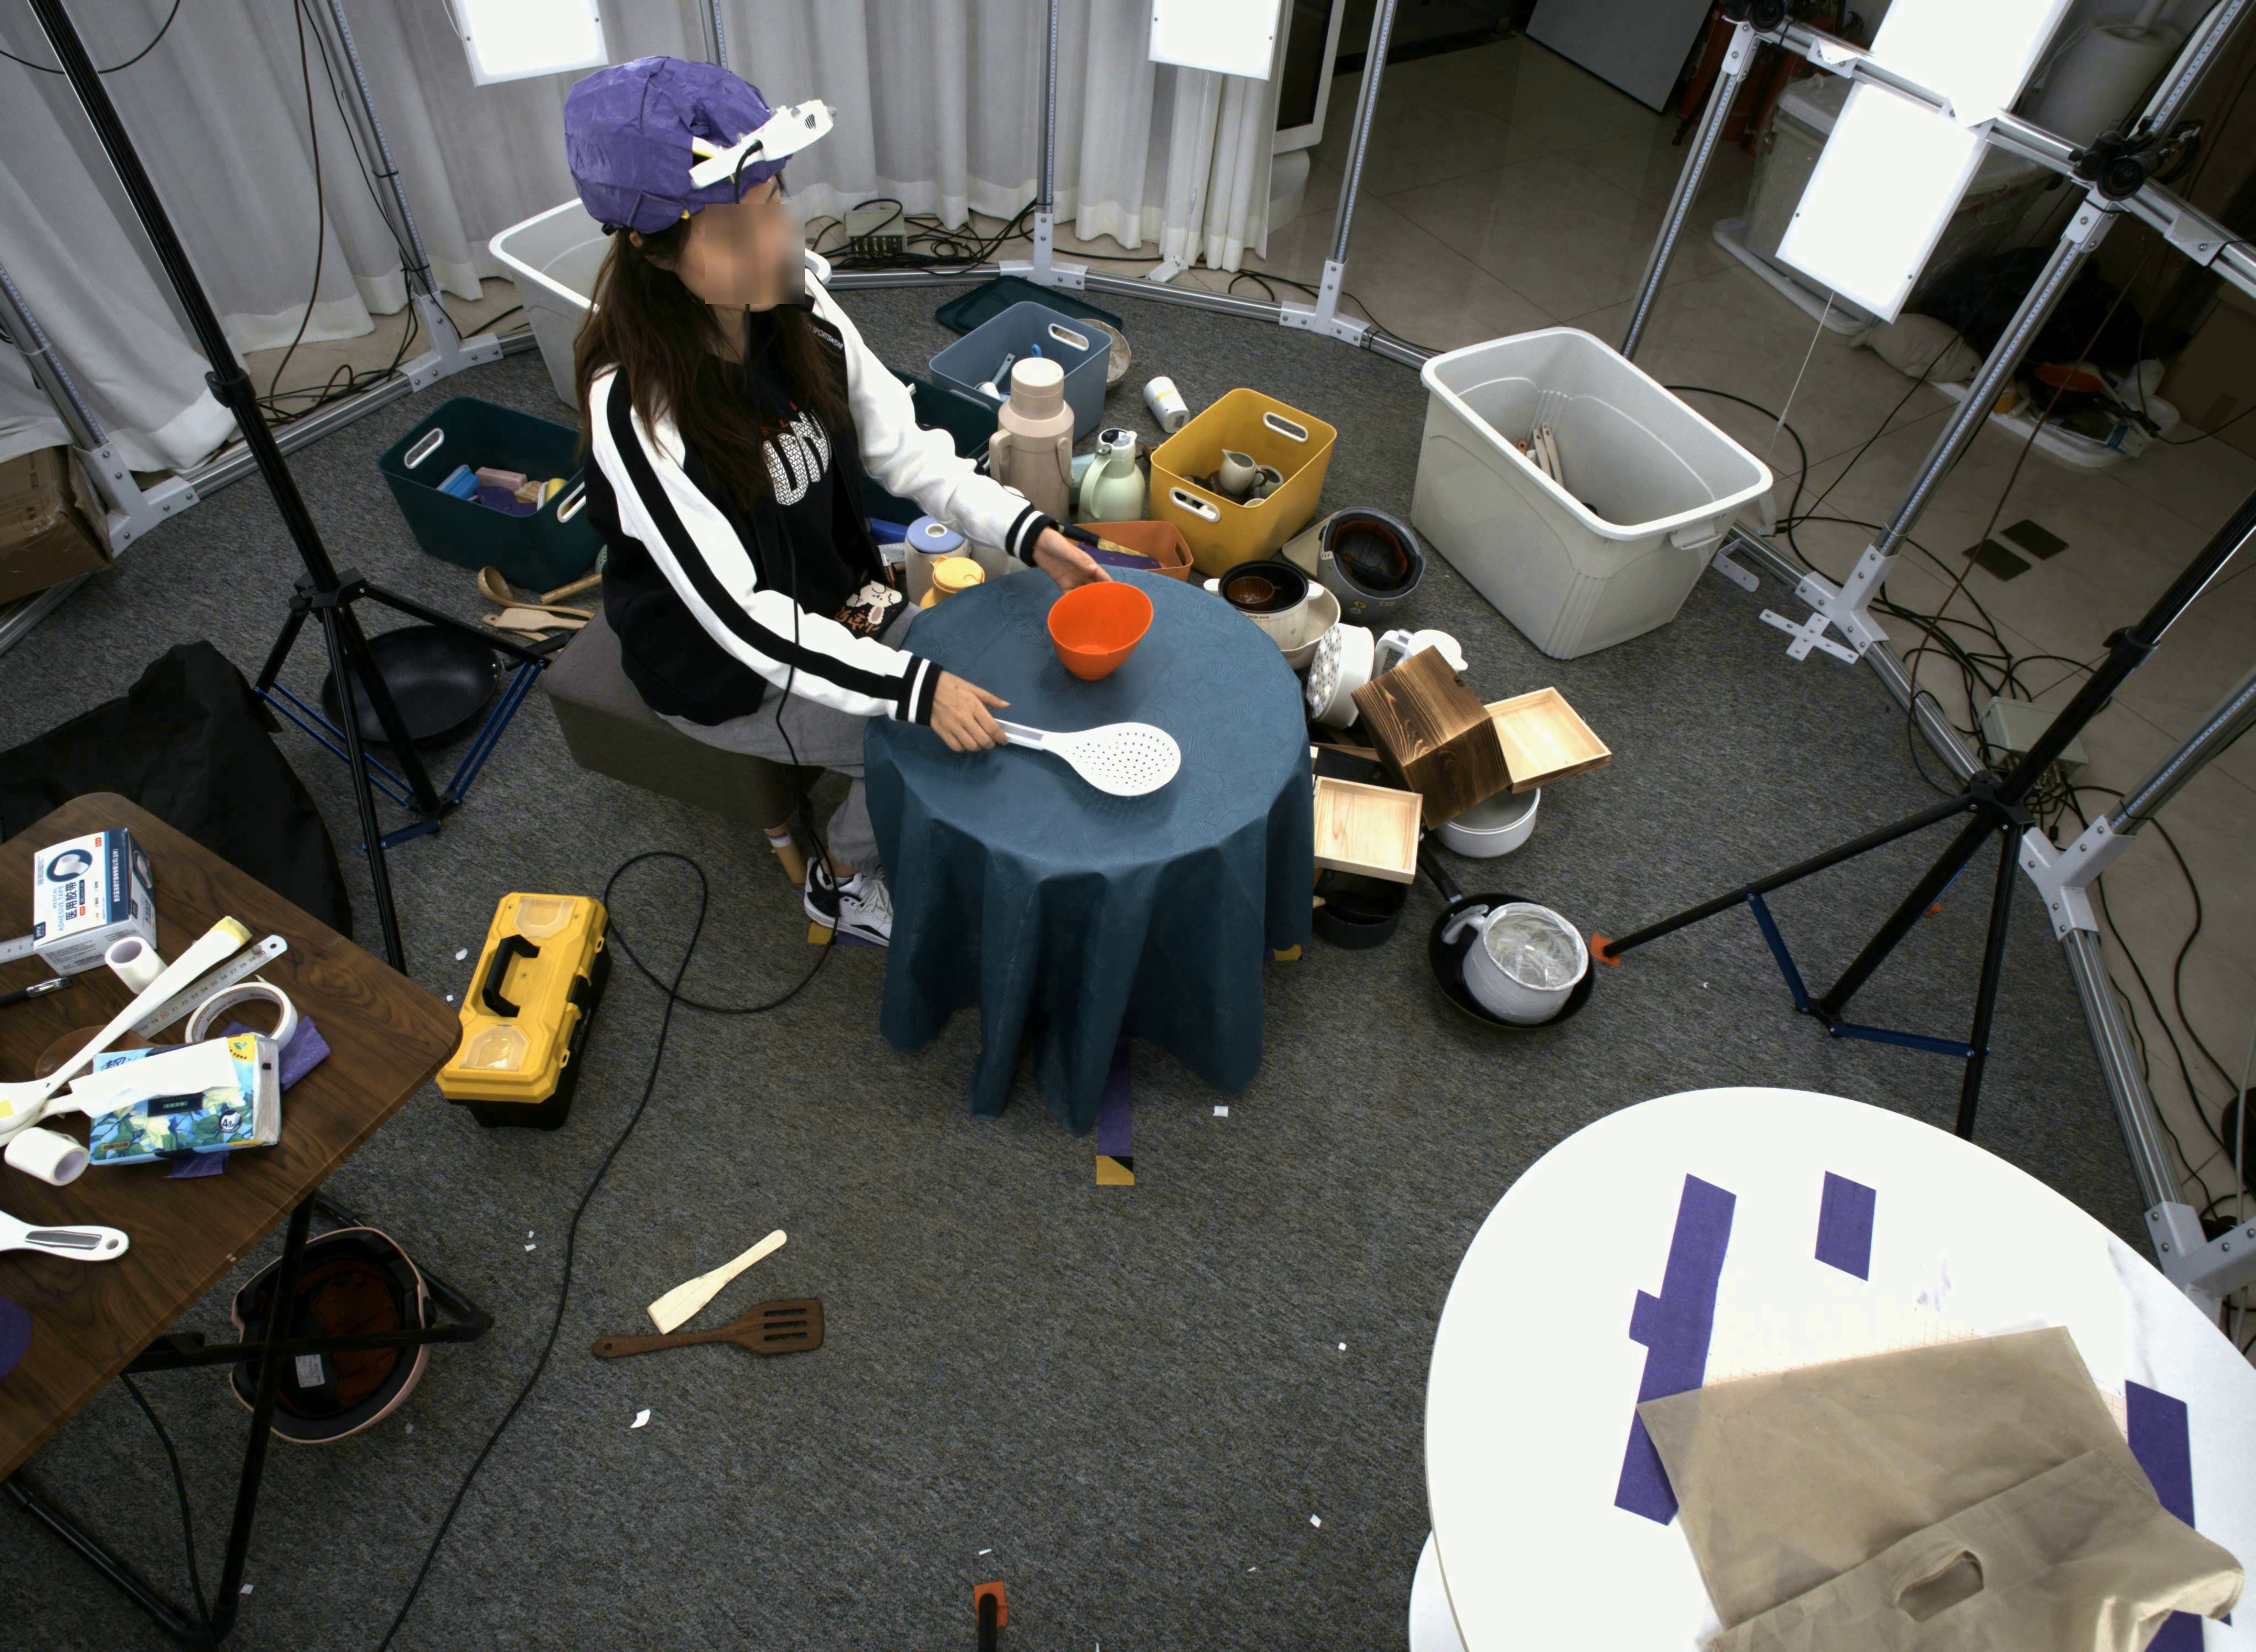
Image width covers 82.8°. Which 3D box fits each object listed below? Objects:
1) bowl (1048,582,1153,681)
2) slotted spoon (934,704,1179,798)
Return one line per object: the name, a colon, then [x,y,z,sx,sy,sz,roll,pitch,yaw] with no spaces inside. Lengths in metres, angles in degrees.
bowl: [-0.040,-0.267,1.834,0.148,0.102,0.151,1,51,-2]
slotted spoon: [-0.101,-0.112,1.731,0.351,0.044,0.139,18,49,12]
